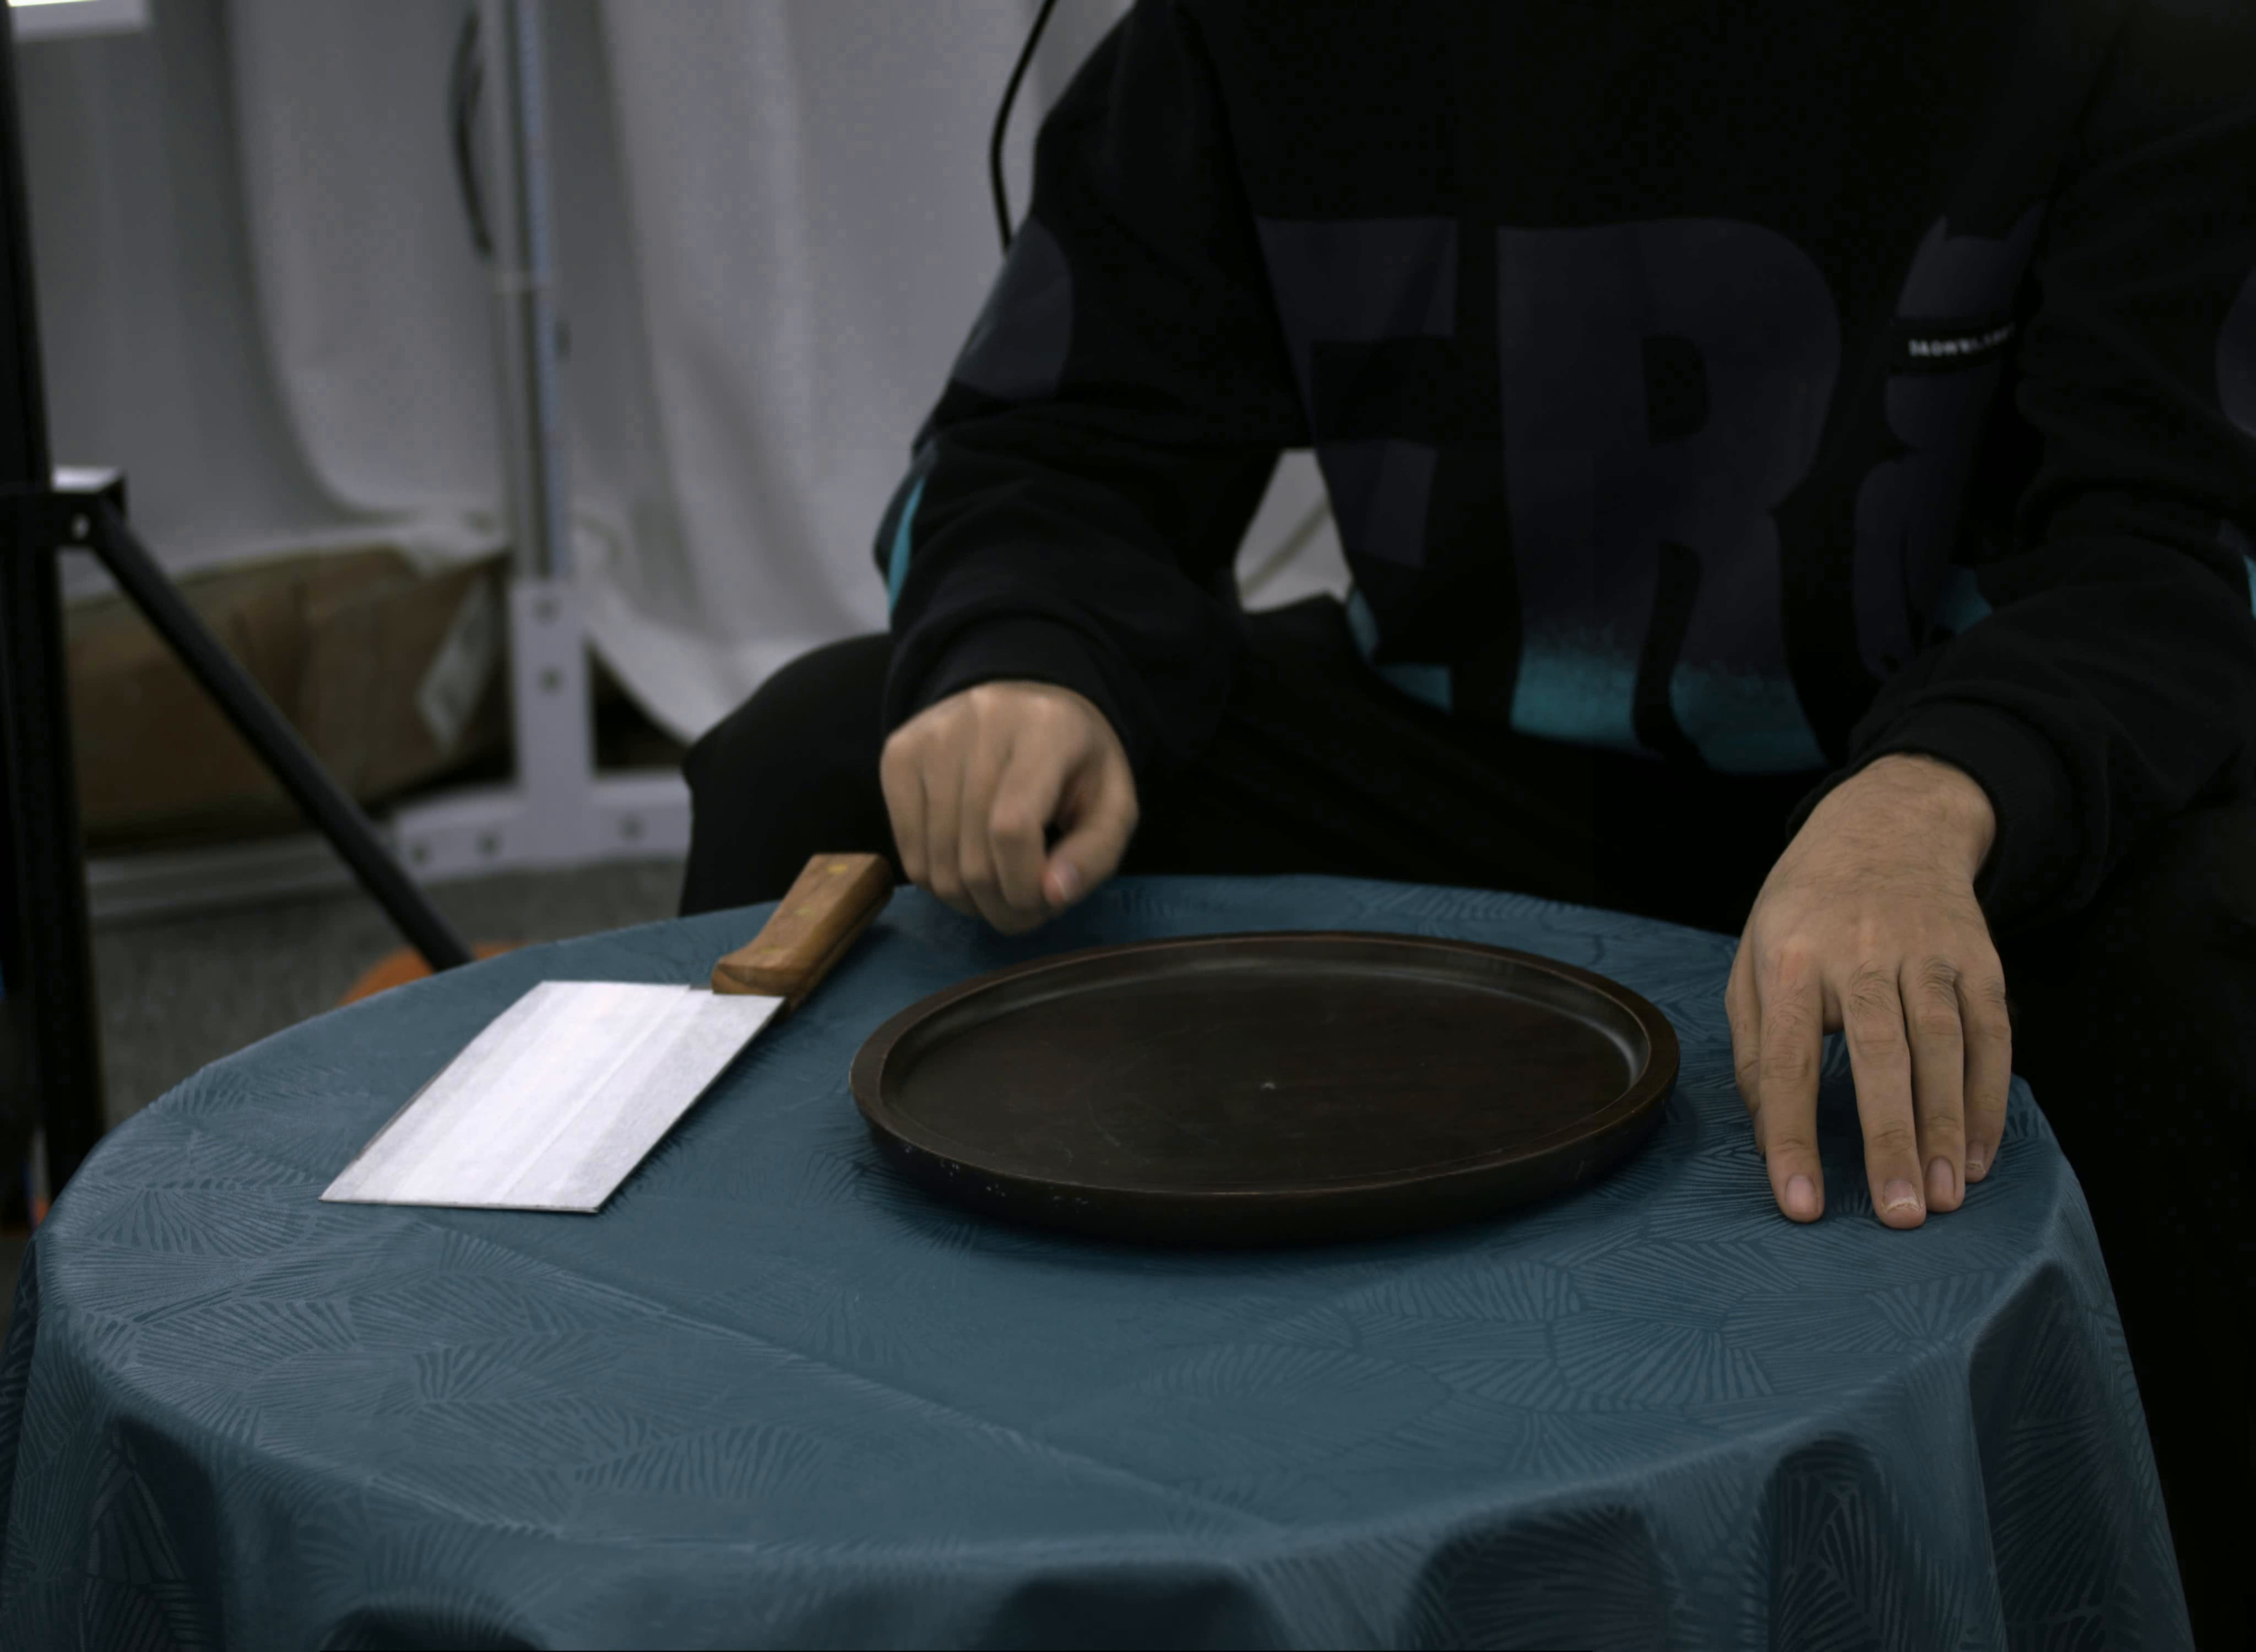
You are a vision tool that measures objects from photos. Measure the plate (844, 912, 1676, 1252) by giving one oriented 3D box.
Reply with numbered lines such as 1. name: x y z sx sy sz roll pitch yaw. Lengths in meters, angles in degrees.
1. plate: 0.040 0.078 1.610 0.253 0.029 0.256 -5 16 0

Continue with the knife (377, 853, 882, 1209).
1. knife: -0.158 0.064 1.712 0.093 0.021 0.303 0 18 16
